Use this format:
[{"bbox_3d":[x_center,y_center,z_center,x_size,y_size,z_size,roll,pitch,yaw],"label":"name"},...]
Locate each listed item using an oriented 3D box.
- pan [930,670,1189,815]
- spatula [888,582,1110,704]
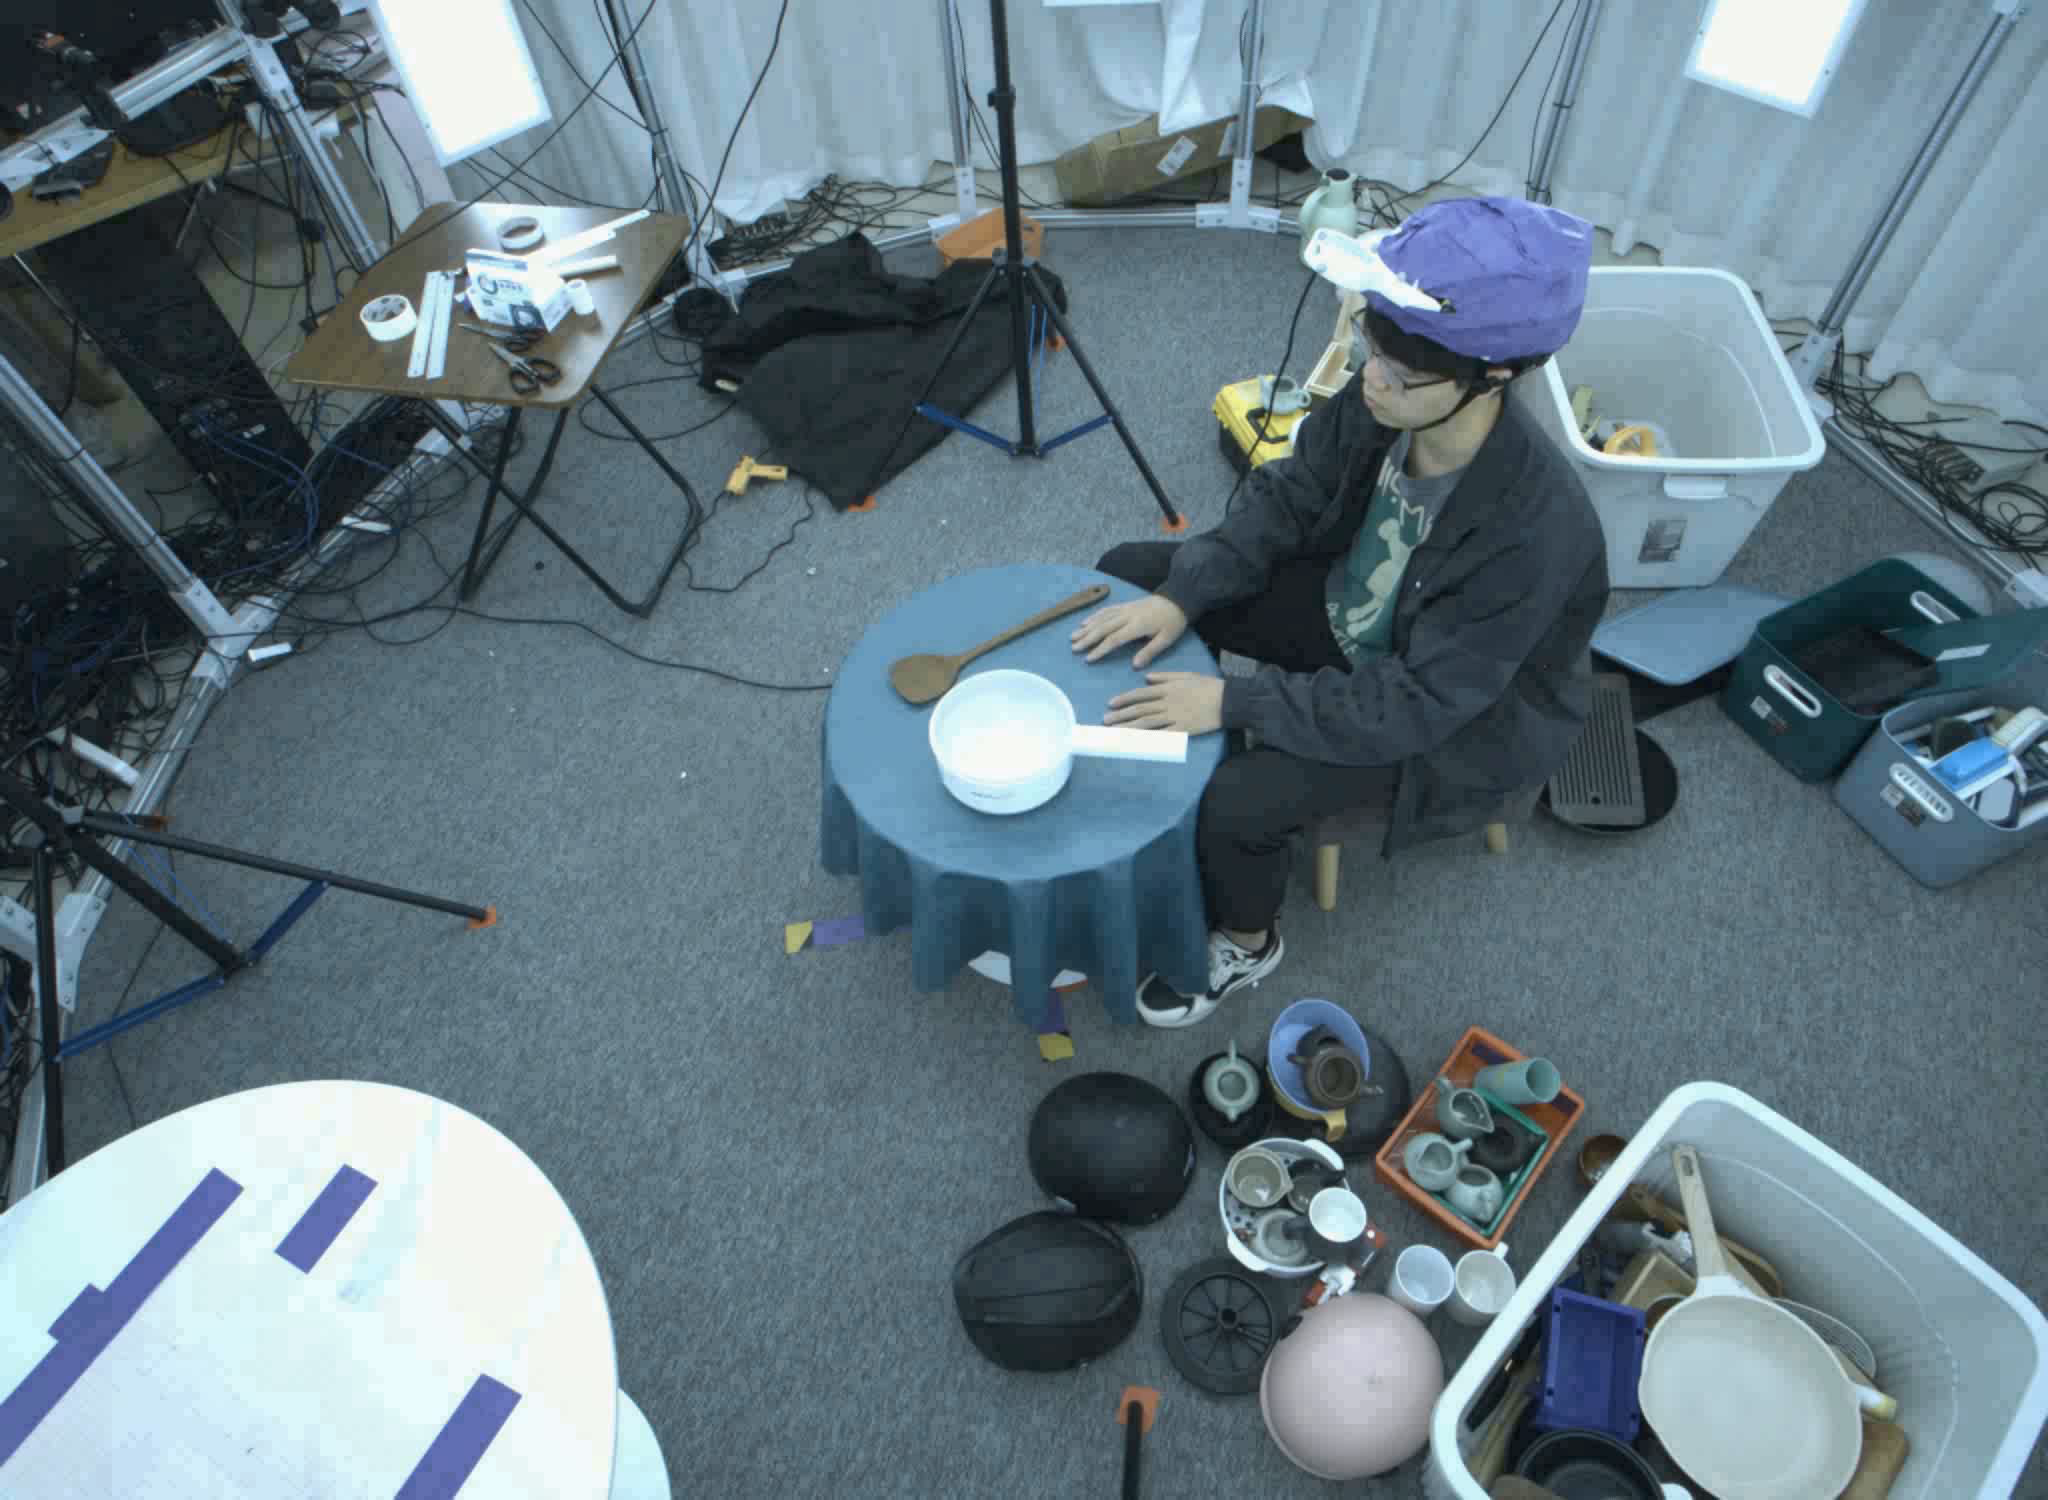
[{"bbox_3d":[0.049,0.003,1.716,0.354,0.103,0.200,6,55,4],"label":"pan"},{"bbox_3d":[-0.029,-0.177,1.898,0.389,0.016,0.094,-28,59,-17],"label":"spatula"}]
